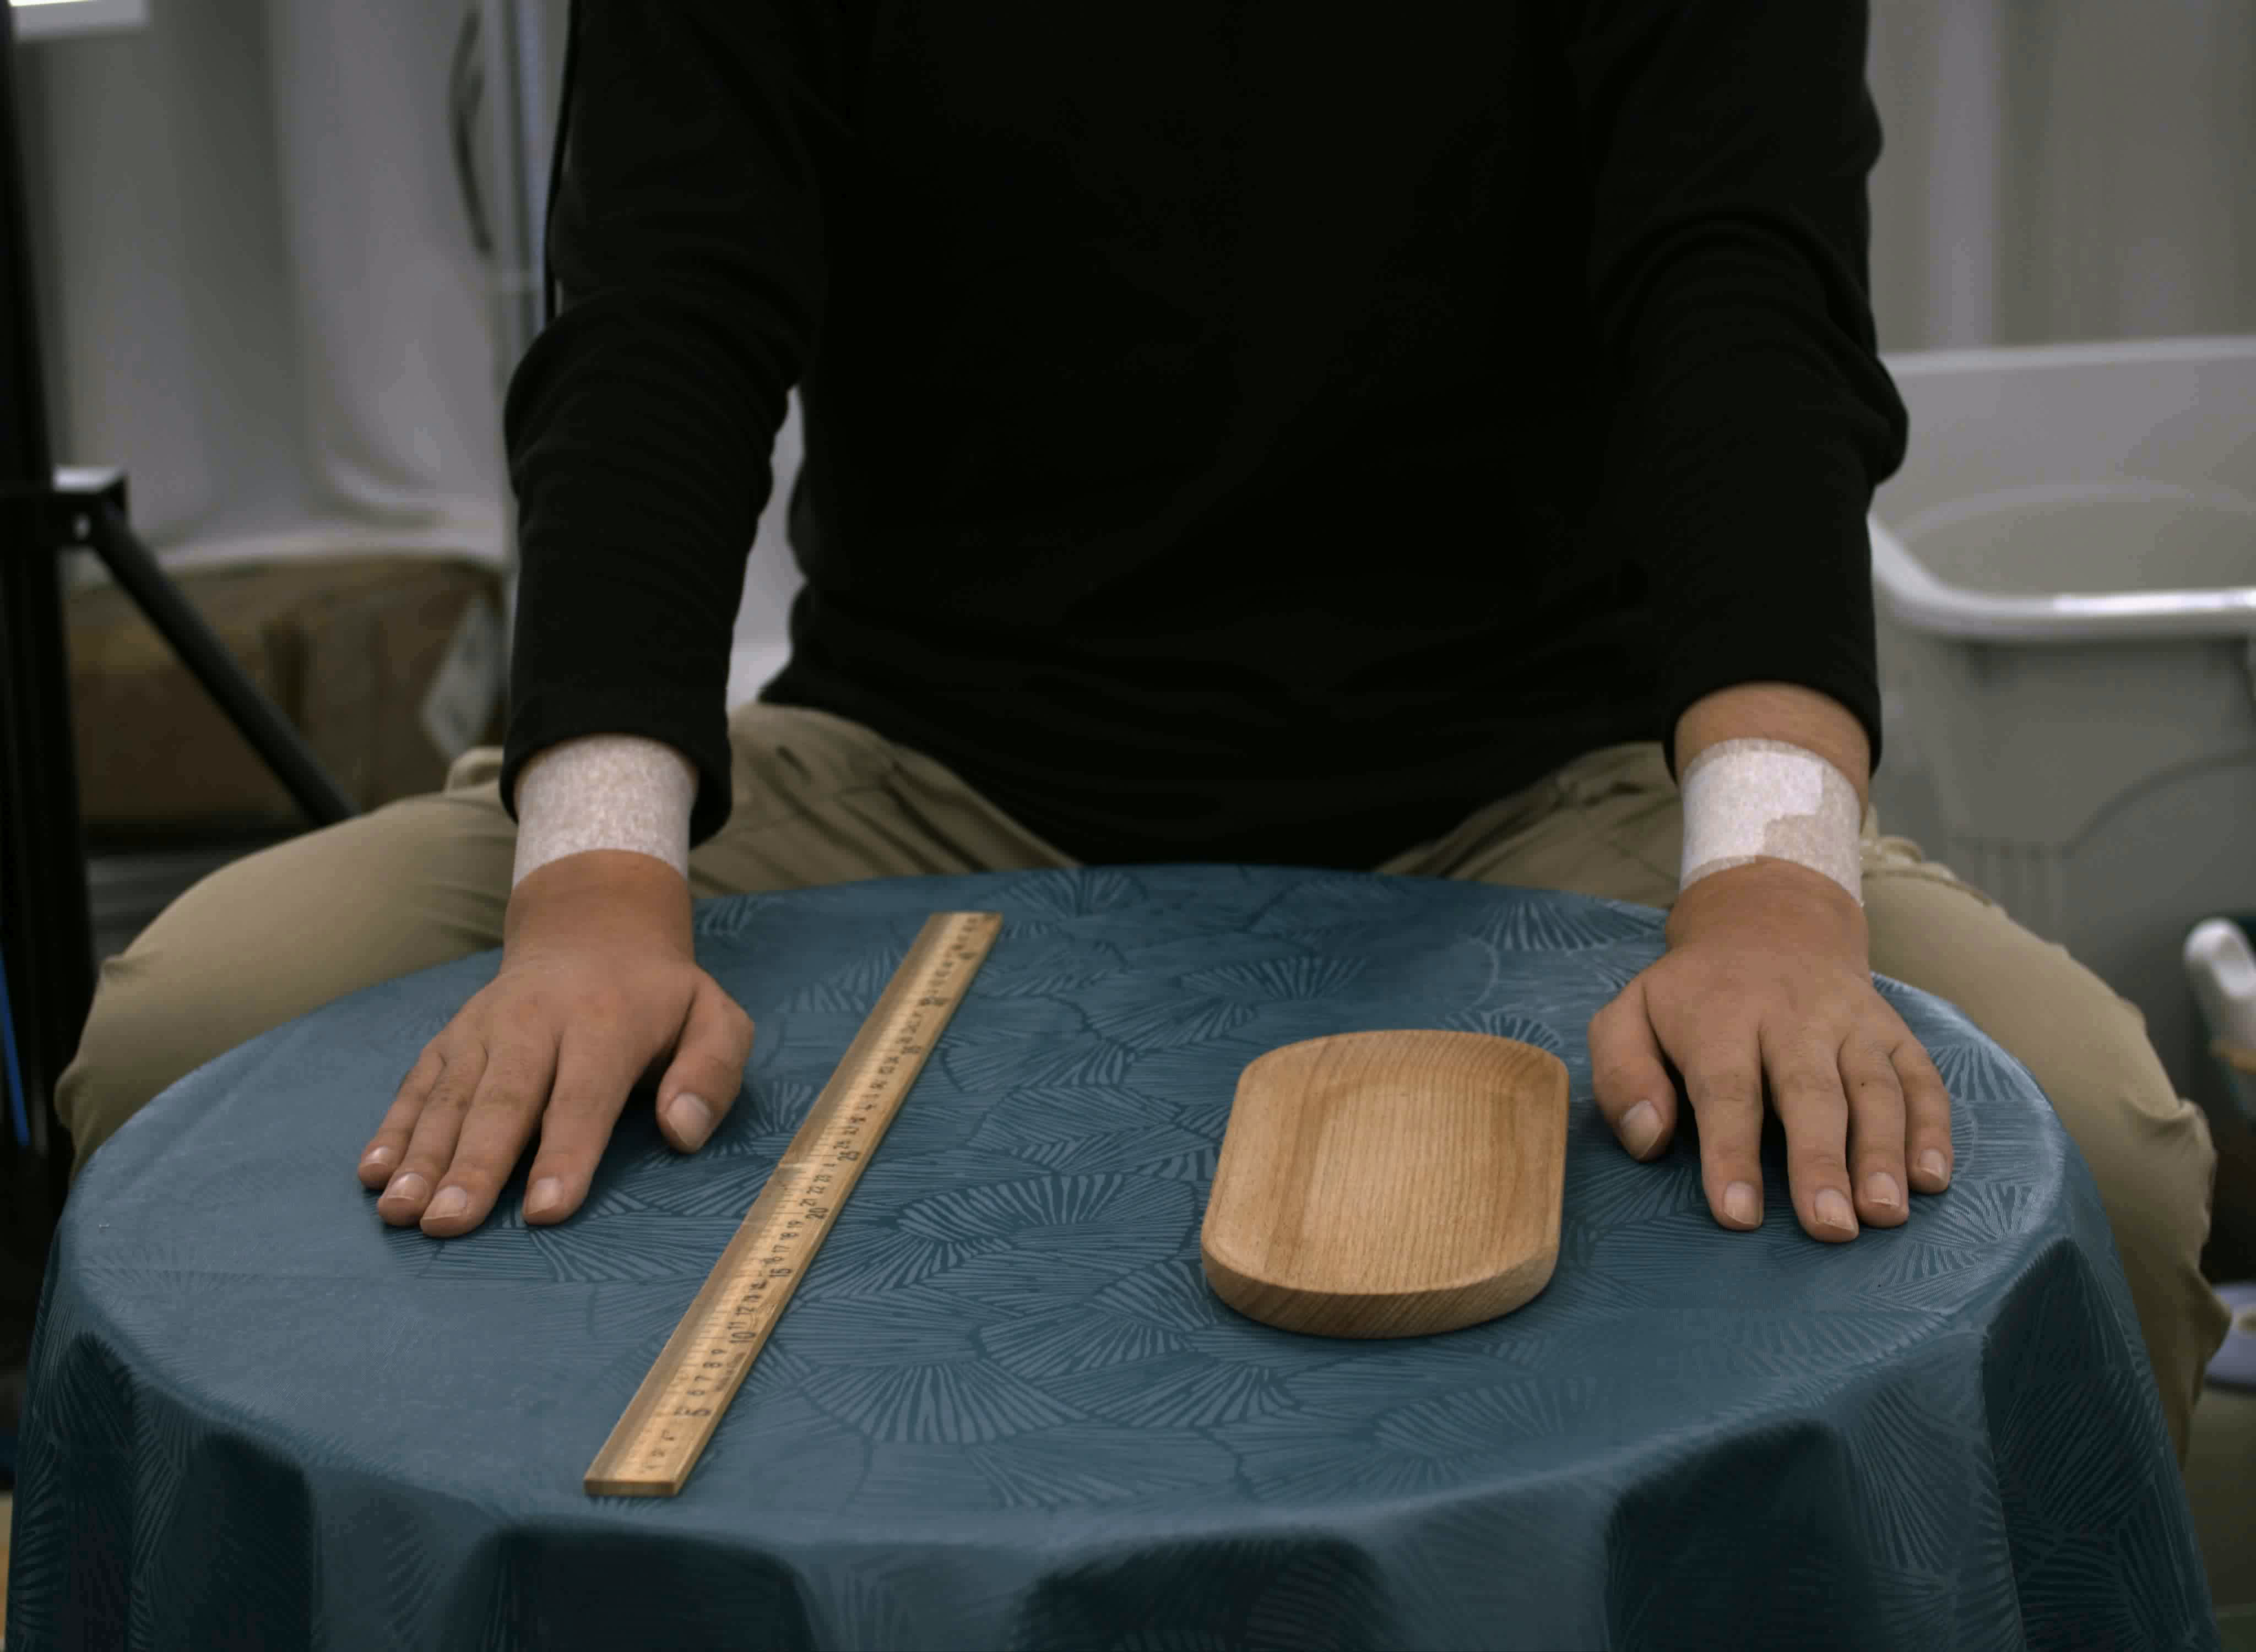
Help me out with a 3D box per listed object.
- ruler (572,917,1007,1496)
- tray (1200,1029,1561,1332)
[{"bbox_3d":[-0.090,0.101,1.588,0.027,0.006,0.498,2,16,9],"label":"ruler"},{"bbox_3d":[0.074,0.101,1.541,0.101,0.020,0.231,0,14,4],"label":"tray"}]
